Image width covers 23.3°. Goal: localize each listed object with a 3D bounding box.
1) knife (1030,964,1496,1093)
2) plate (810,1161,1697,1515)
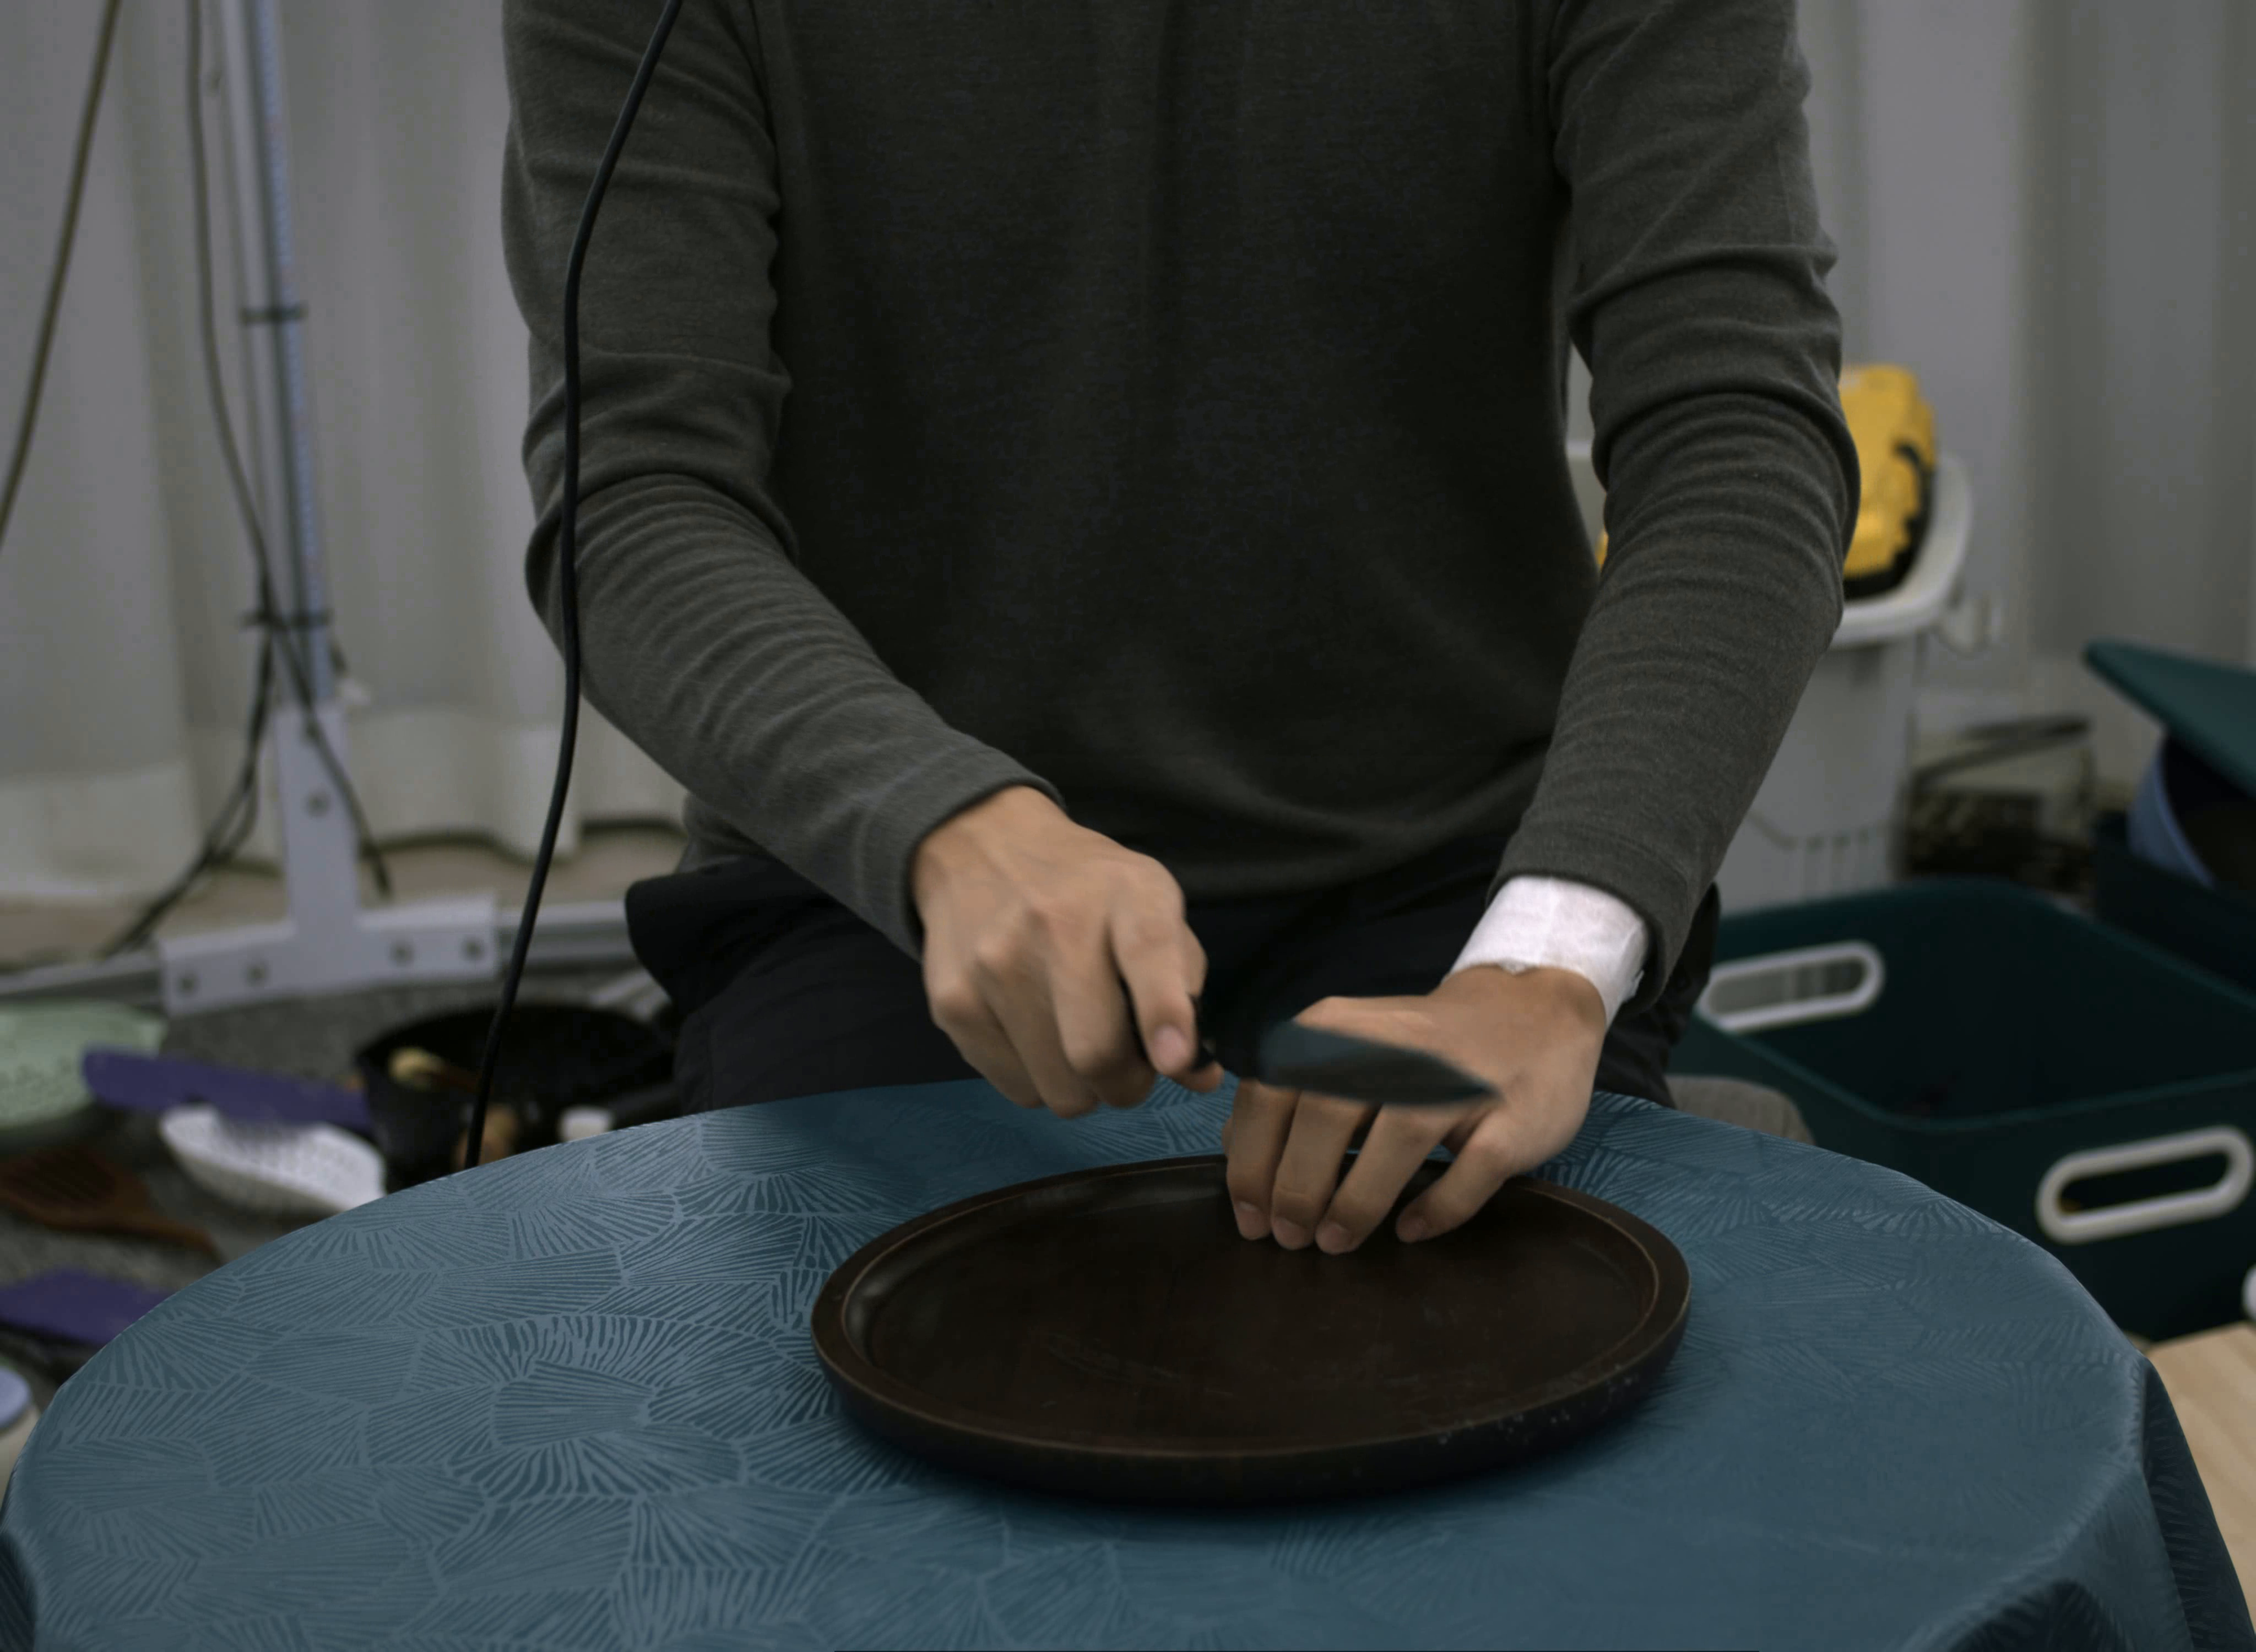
[{"bbox_3d":[0.036,0.057,1.556,0.016,0.024,0.239,-14,10,-30],"label":"knife"},{"bbox_3d":[0.035,0.143,1.561,0.254,0.029,0.256,-2,16,0],"label":"plate"}]
